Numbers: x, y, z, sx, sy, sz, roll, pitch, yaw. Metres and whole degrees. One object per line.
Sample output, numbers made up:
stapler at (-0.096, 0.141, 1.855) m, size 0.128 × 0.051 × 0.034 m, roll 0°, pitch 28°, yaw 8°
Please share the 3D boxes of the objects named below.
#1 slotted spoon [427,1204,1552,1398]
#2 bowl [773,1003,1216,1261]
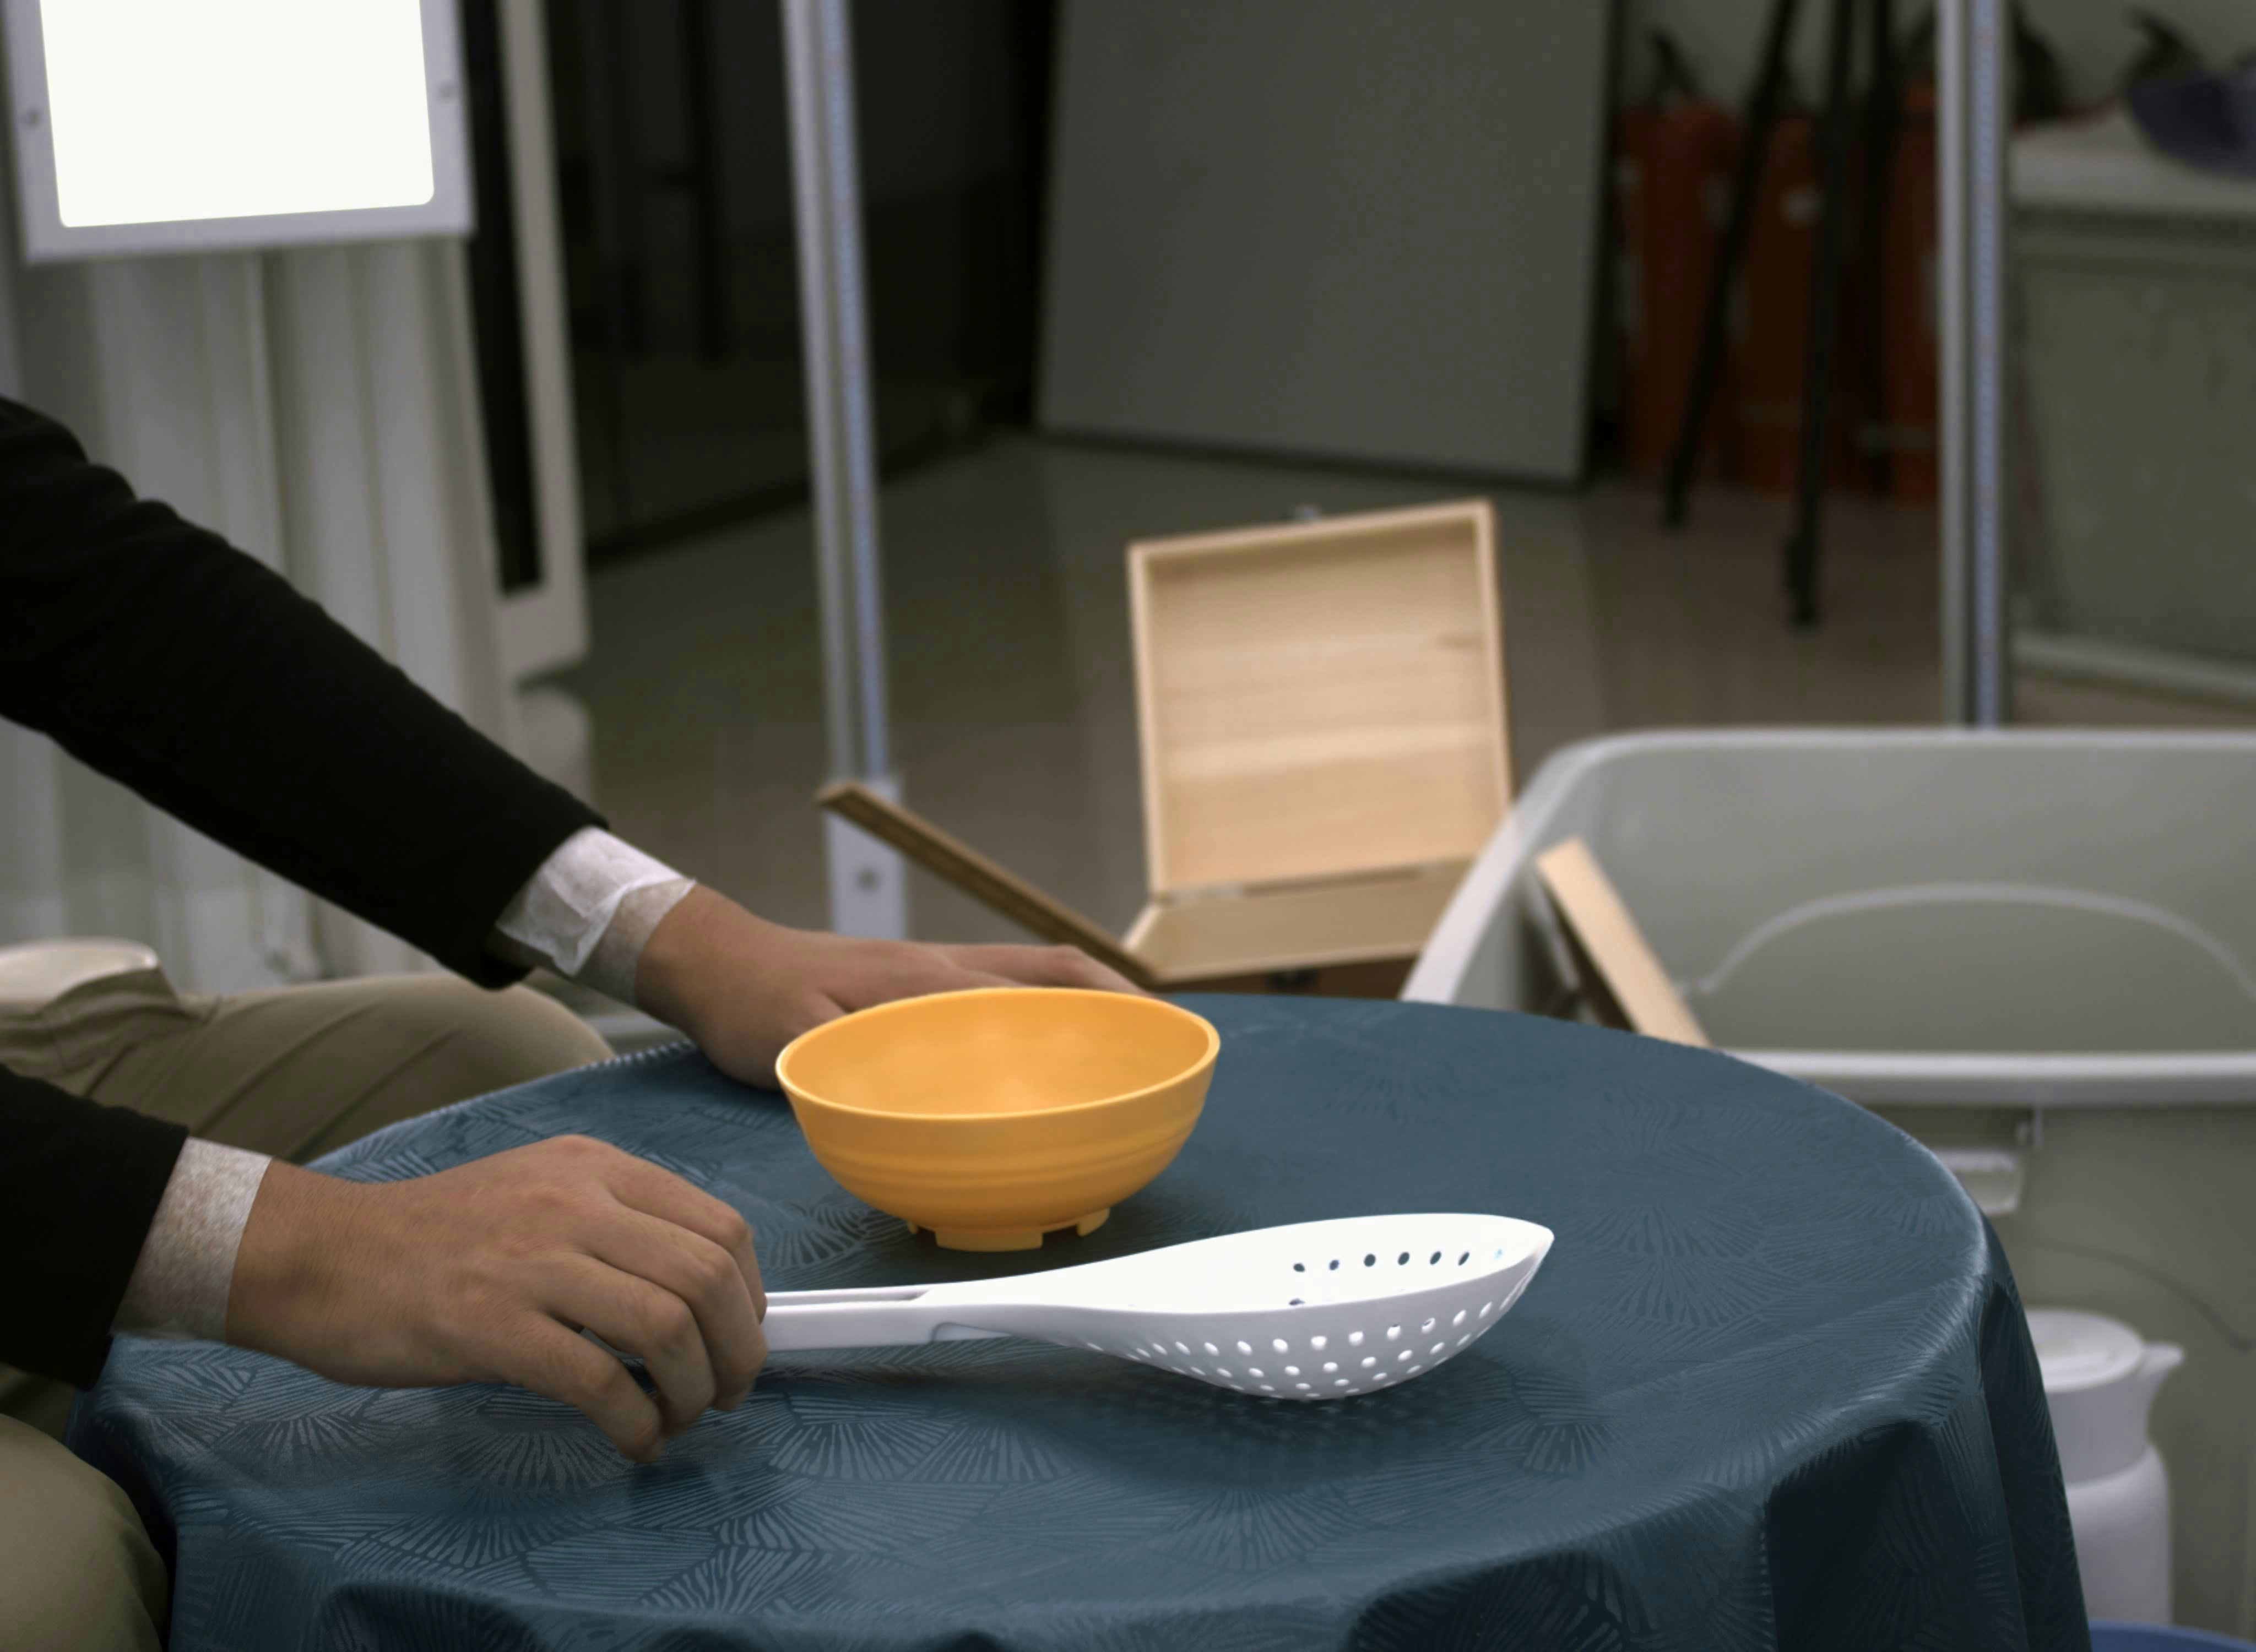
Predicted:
slotted spoon at (-0.045, 0.143, 1.596) m, size 0.348 × 0.046 × 0.135 m, roll -1°, pitch 7°, yaw 17°
bowl at (-0.042, 0.103, 1.742) m, size 0.143 × 0.061 × 0.145 m, roll -3°, pitch 12°, yaw 0°
